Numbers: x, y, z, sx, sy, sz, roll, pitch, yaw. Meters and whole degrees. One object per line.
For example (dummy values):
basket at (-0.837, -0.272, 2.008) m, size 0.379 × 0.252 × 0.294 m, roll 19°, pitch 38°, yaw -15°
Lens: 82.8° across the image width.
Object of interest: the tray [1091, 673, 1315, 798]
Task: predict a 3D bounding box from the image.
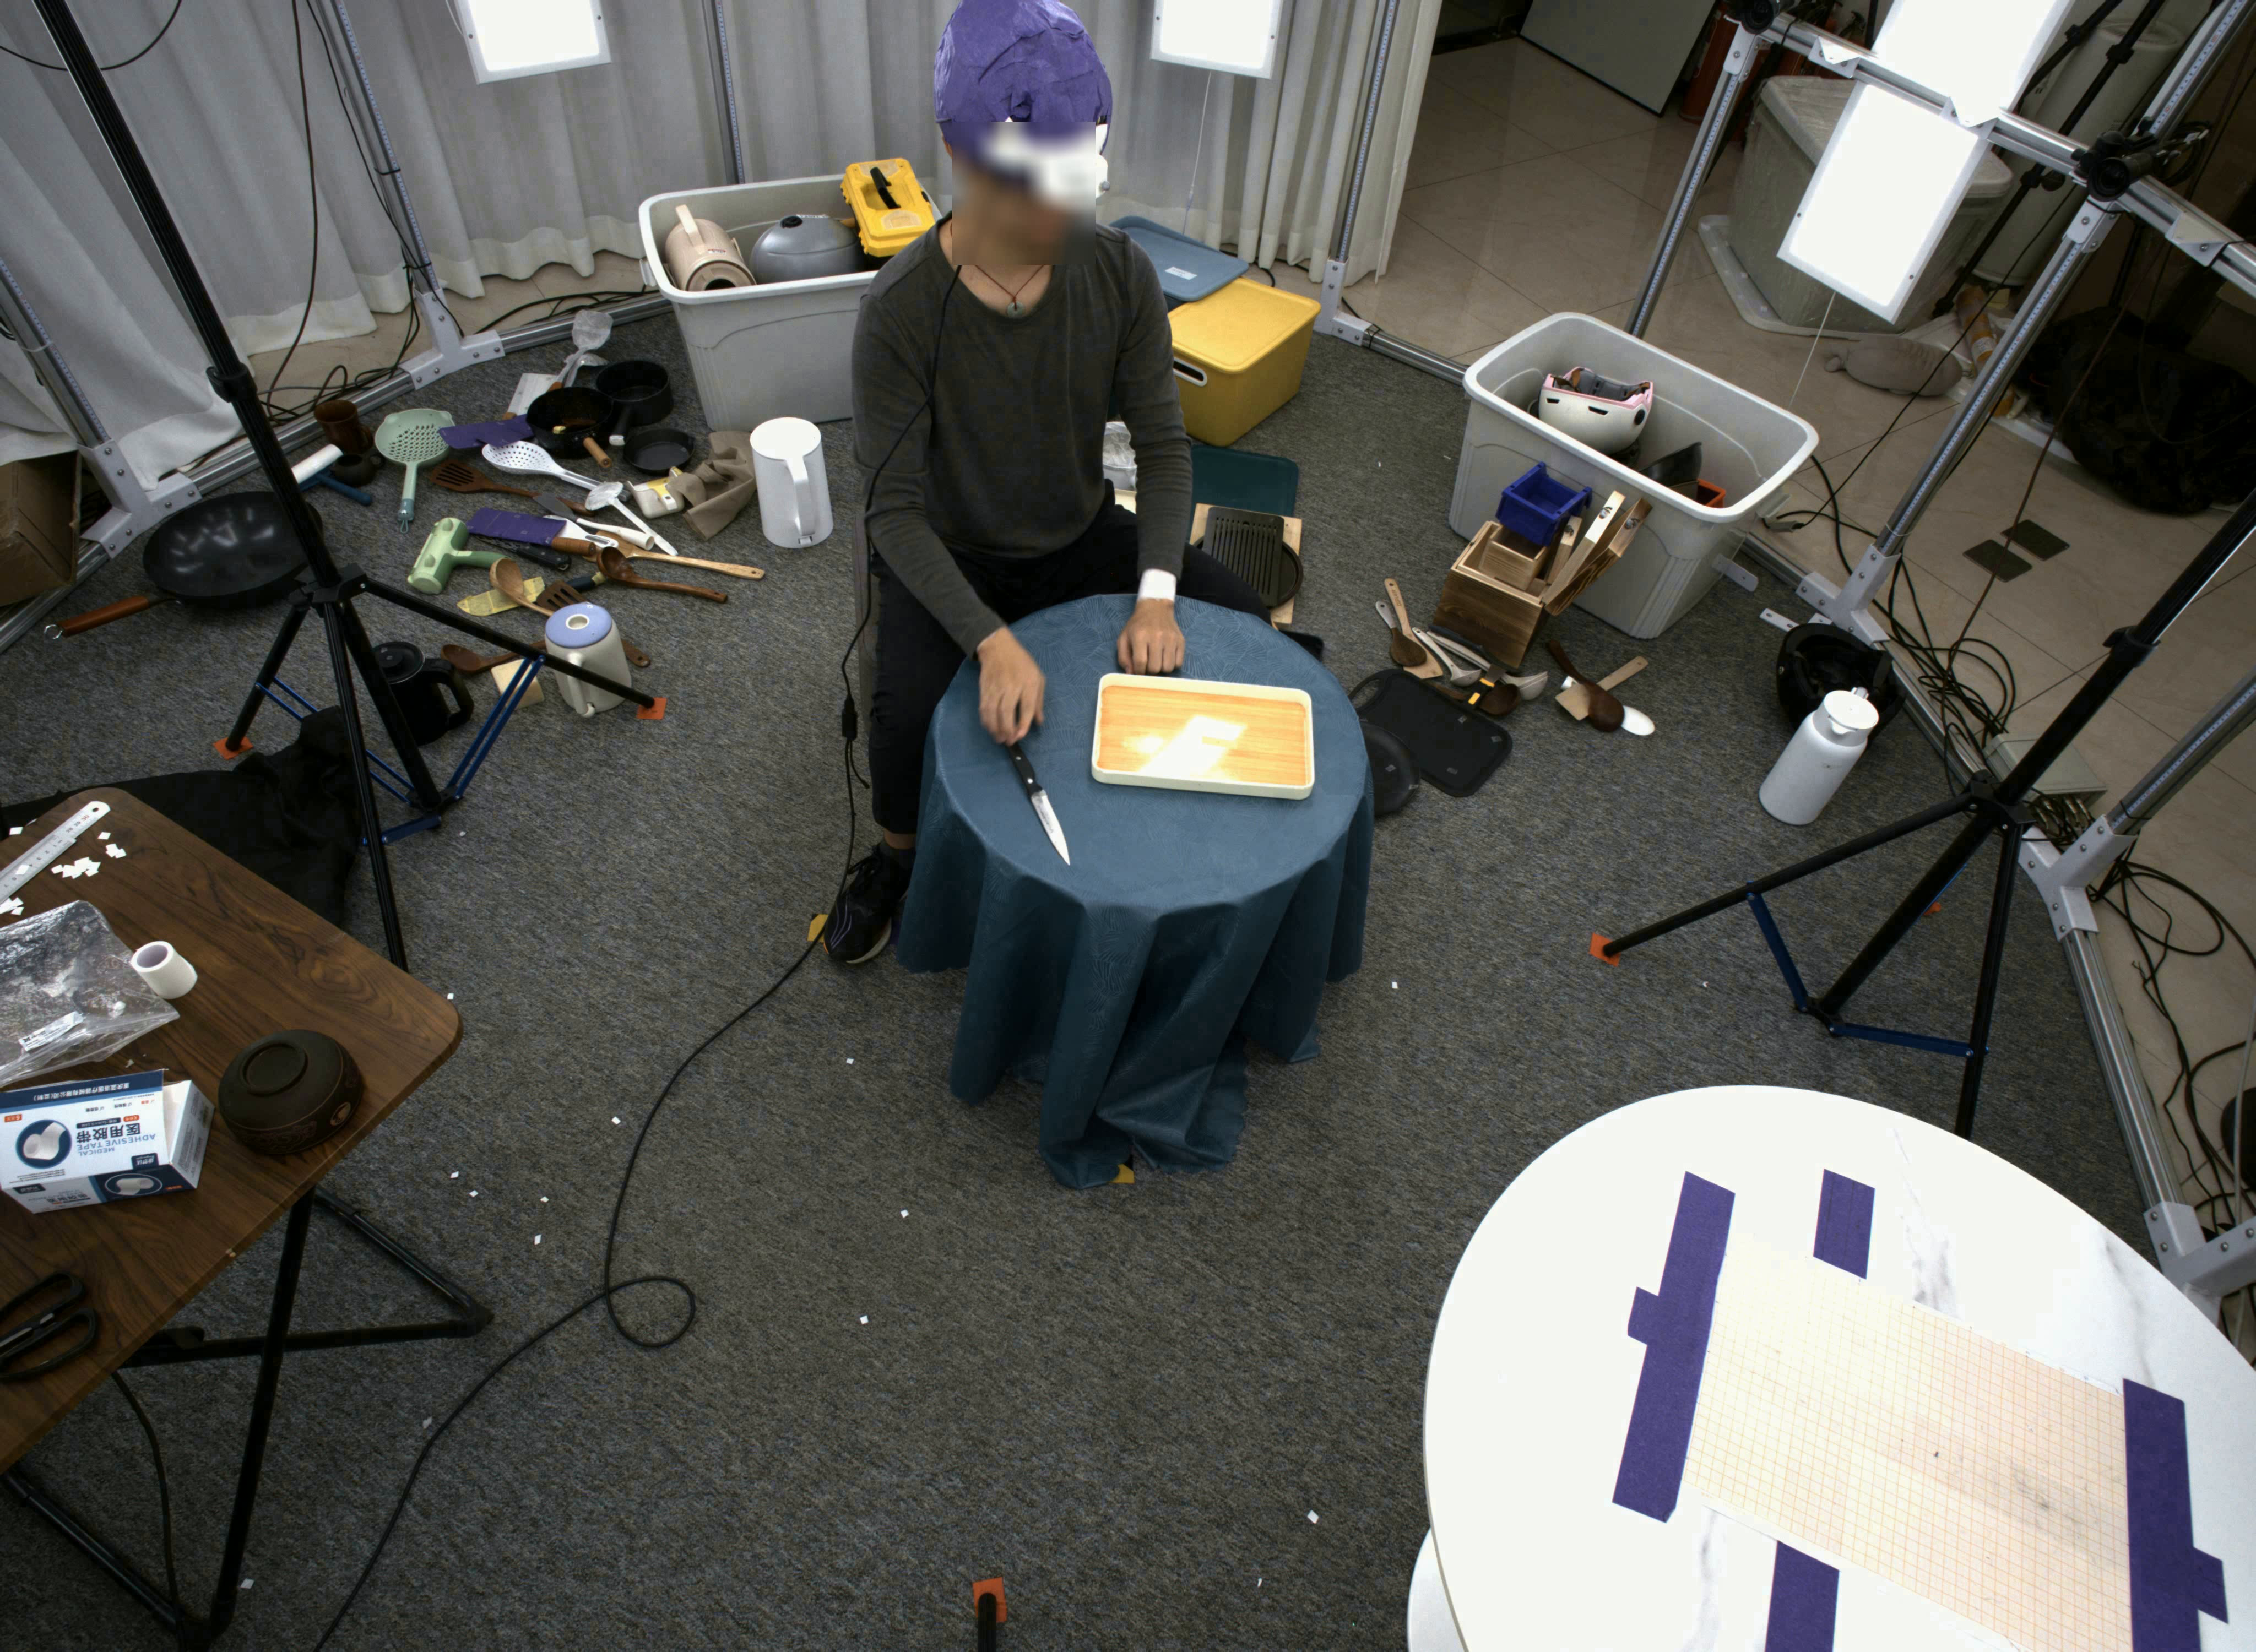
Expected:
tray at (0.104, -0.126, 1.767) m, size 0.300 × 0.027 × 0.196 m, roll 5°, pitch 48°, yaw 0°

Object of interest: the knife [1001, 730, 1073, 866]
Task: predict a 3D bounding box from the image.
knife at (-0.121, -0.038, 1.685) m, size 0.024 × 0.016 × 0.243 m, roll -17°, pitch 55°, yaw -17°
